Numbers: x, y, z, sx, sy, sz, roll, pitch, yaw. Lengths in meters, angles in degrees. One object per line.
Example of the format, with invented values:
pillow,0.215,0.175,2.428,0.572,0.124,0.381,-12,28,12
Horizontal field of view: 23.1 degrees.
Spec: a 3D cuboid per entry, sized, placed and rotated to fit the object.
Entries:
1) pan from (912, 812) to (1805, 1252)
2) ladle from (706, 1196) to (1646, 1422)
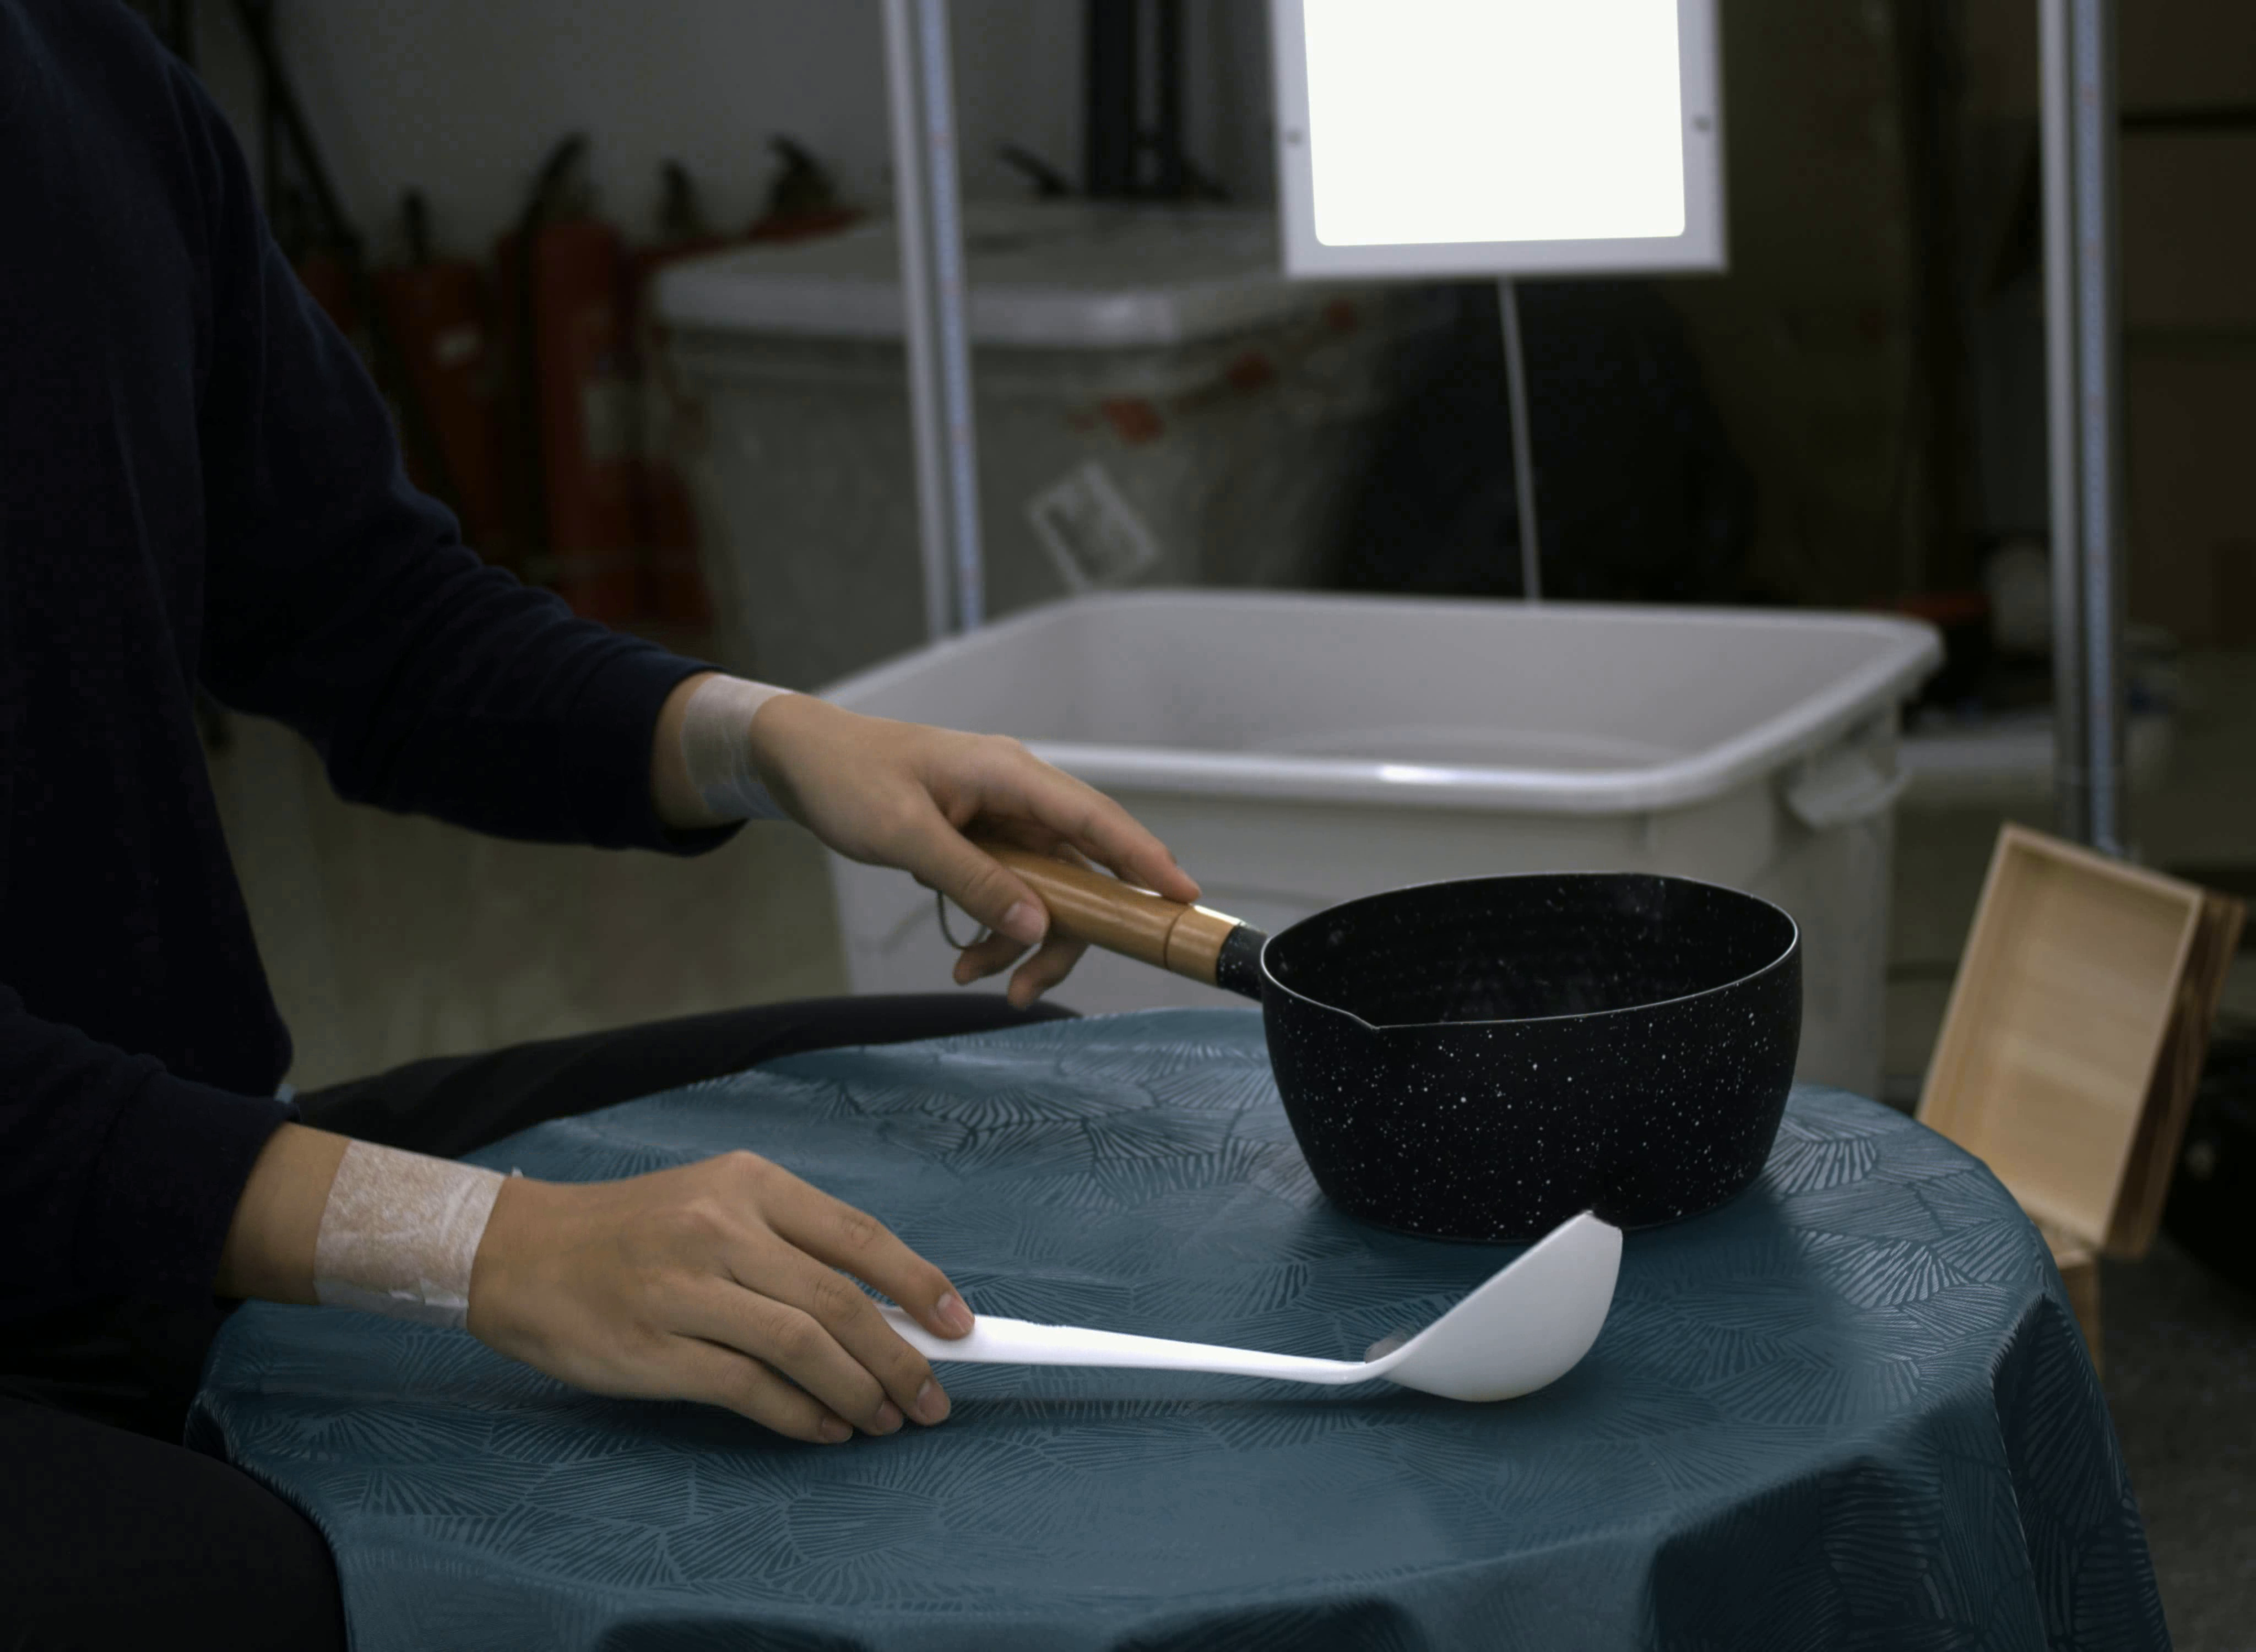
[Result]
pan,0.071,0.063,1.904,0.349,0.108,0.202,6,18,32
ladle,0.013,0.143,1.686,0.296,0.070,0.089,2,5,16
